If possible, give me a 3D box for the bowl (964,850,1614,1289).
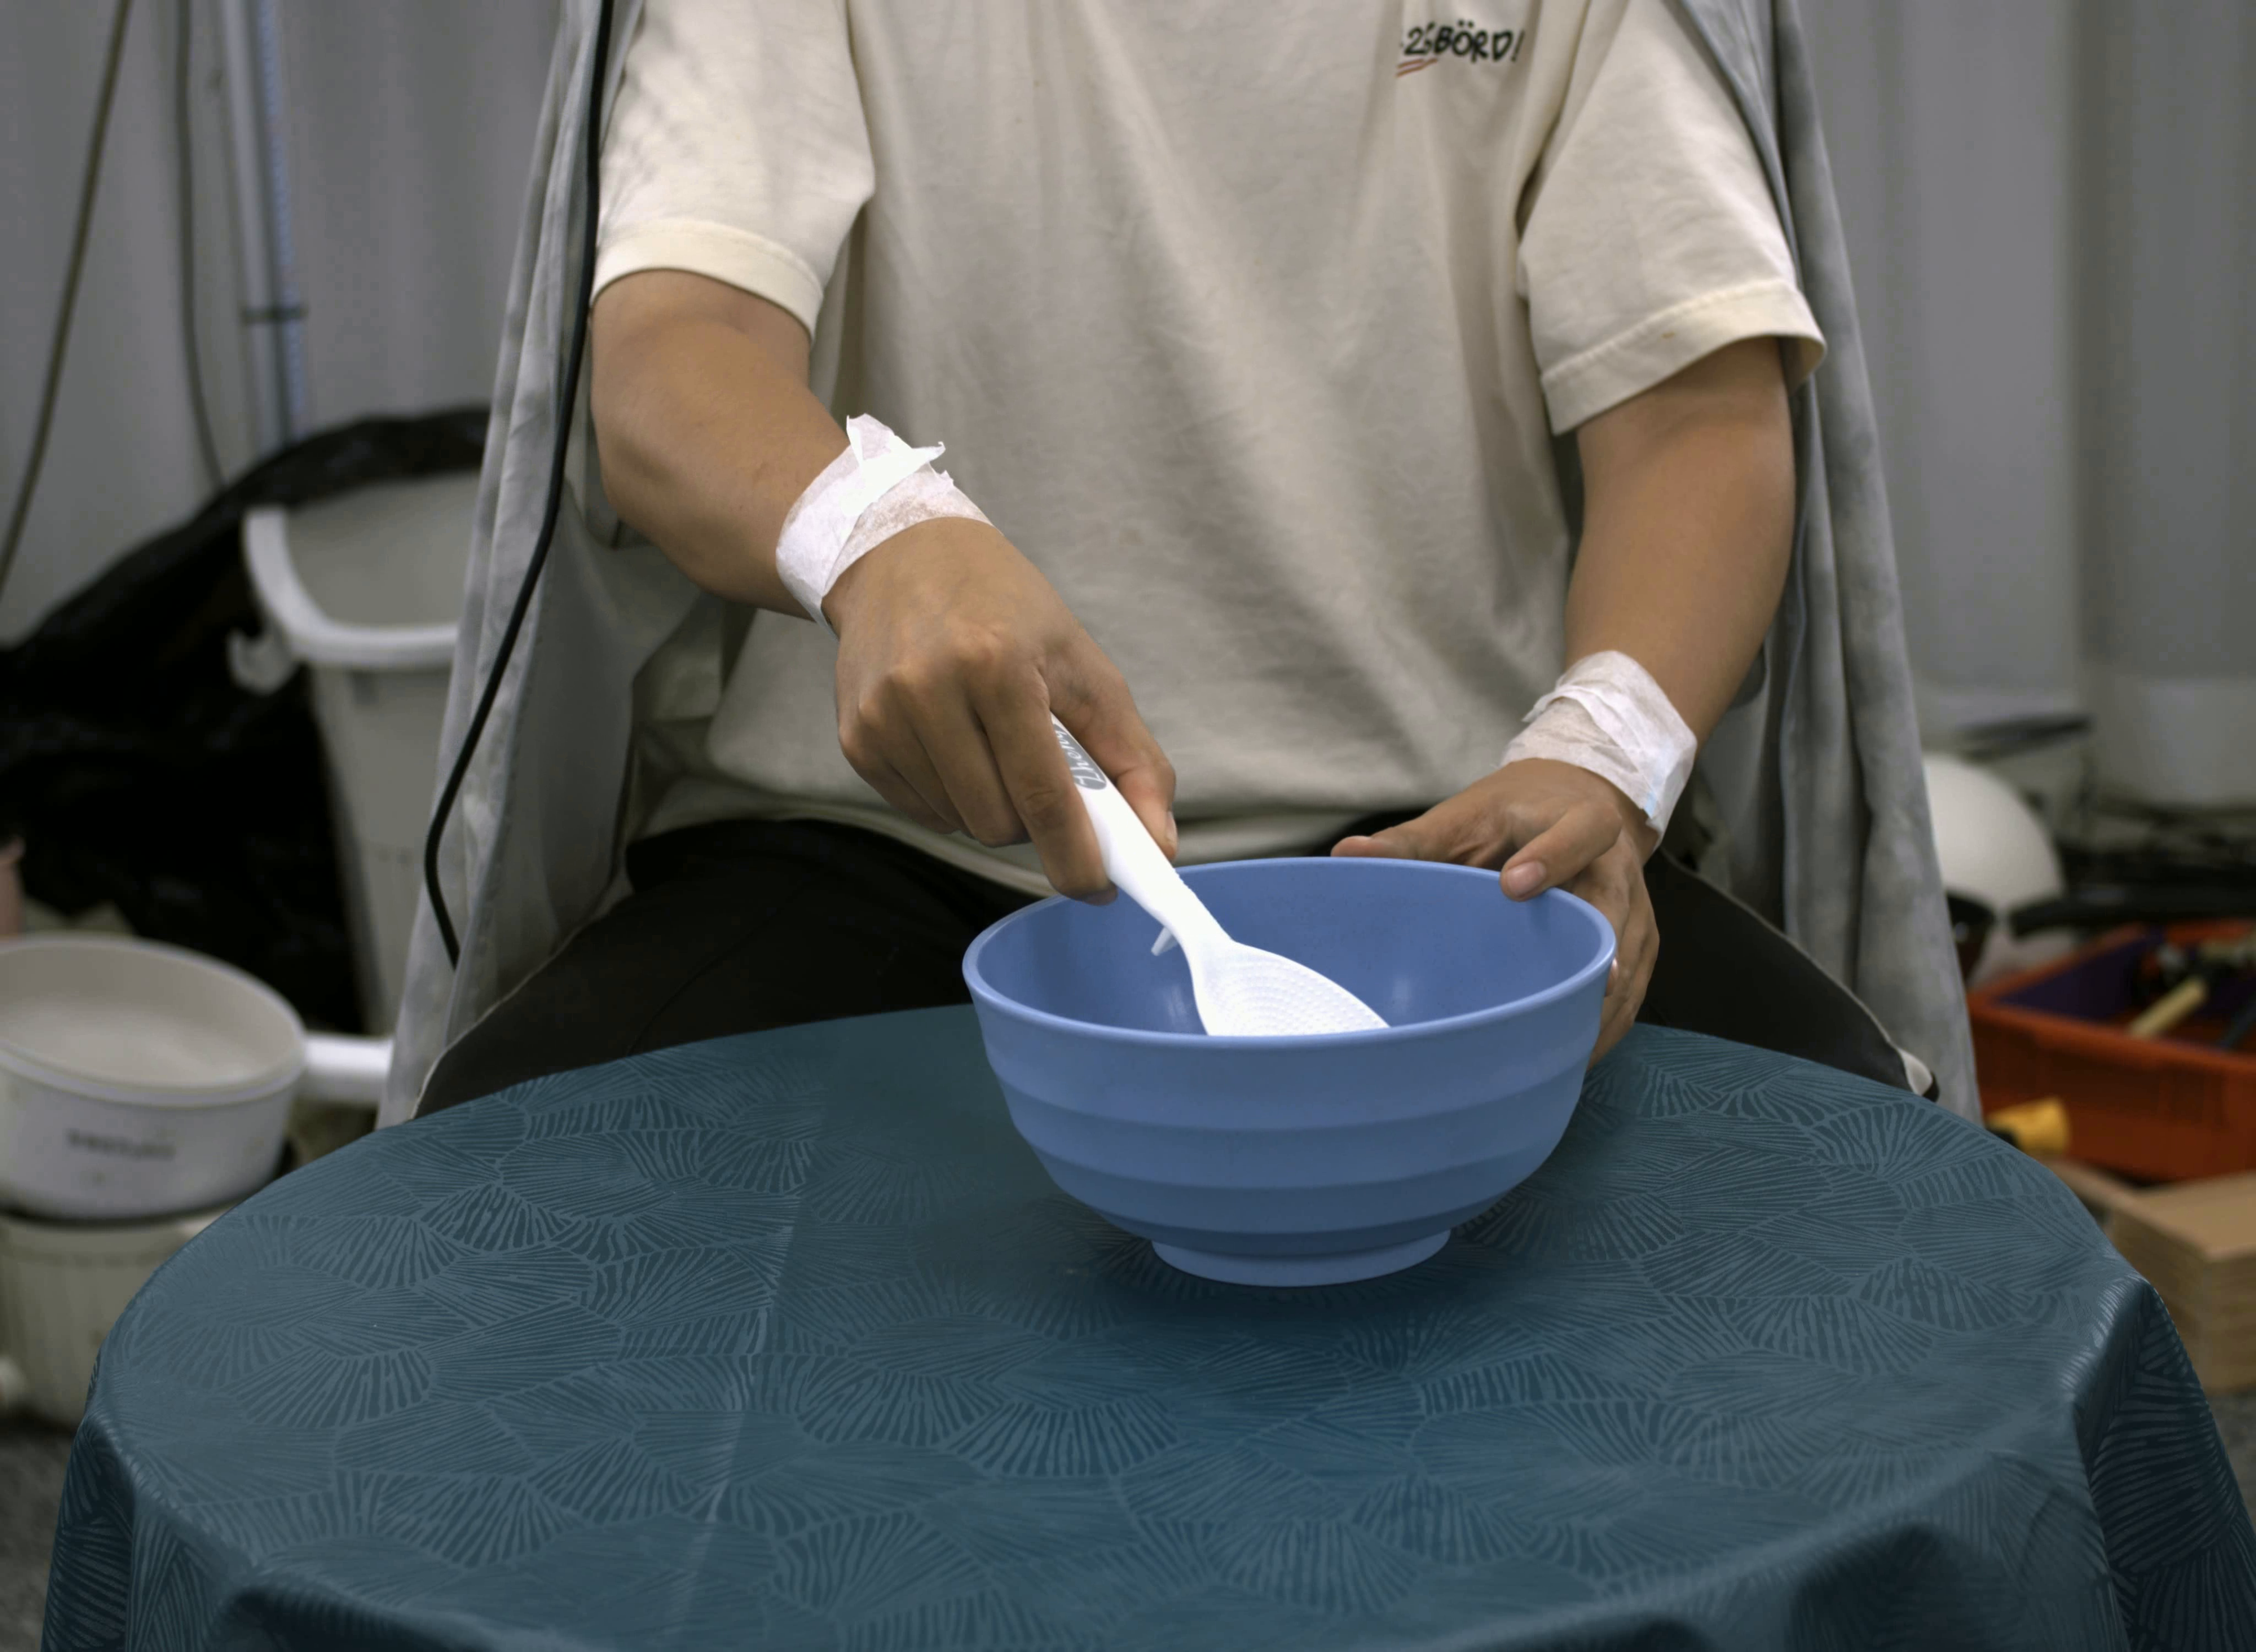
[{"bbox_3d":[0.051,0.080,1.657,0.196,0.095,0.198,-3,16,1],"label":"bowl"}]

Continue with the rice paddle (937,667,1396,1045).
[{"bbox_3d":[0.021,0.032,1.666,0.206,0.029,0.069,46,43,15],"label":"rice paddle"}]
